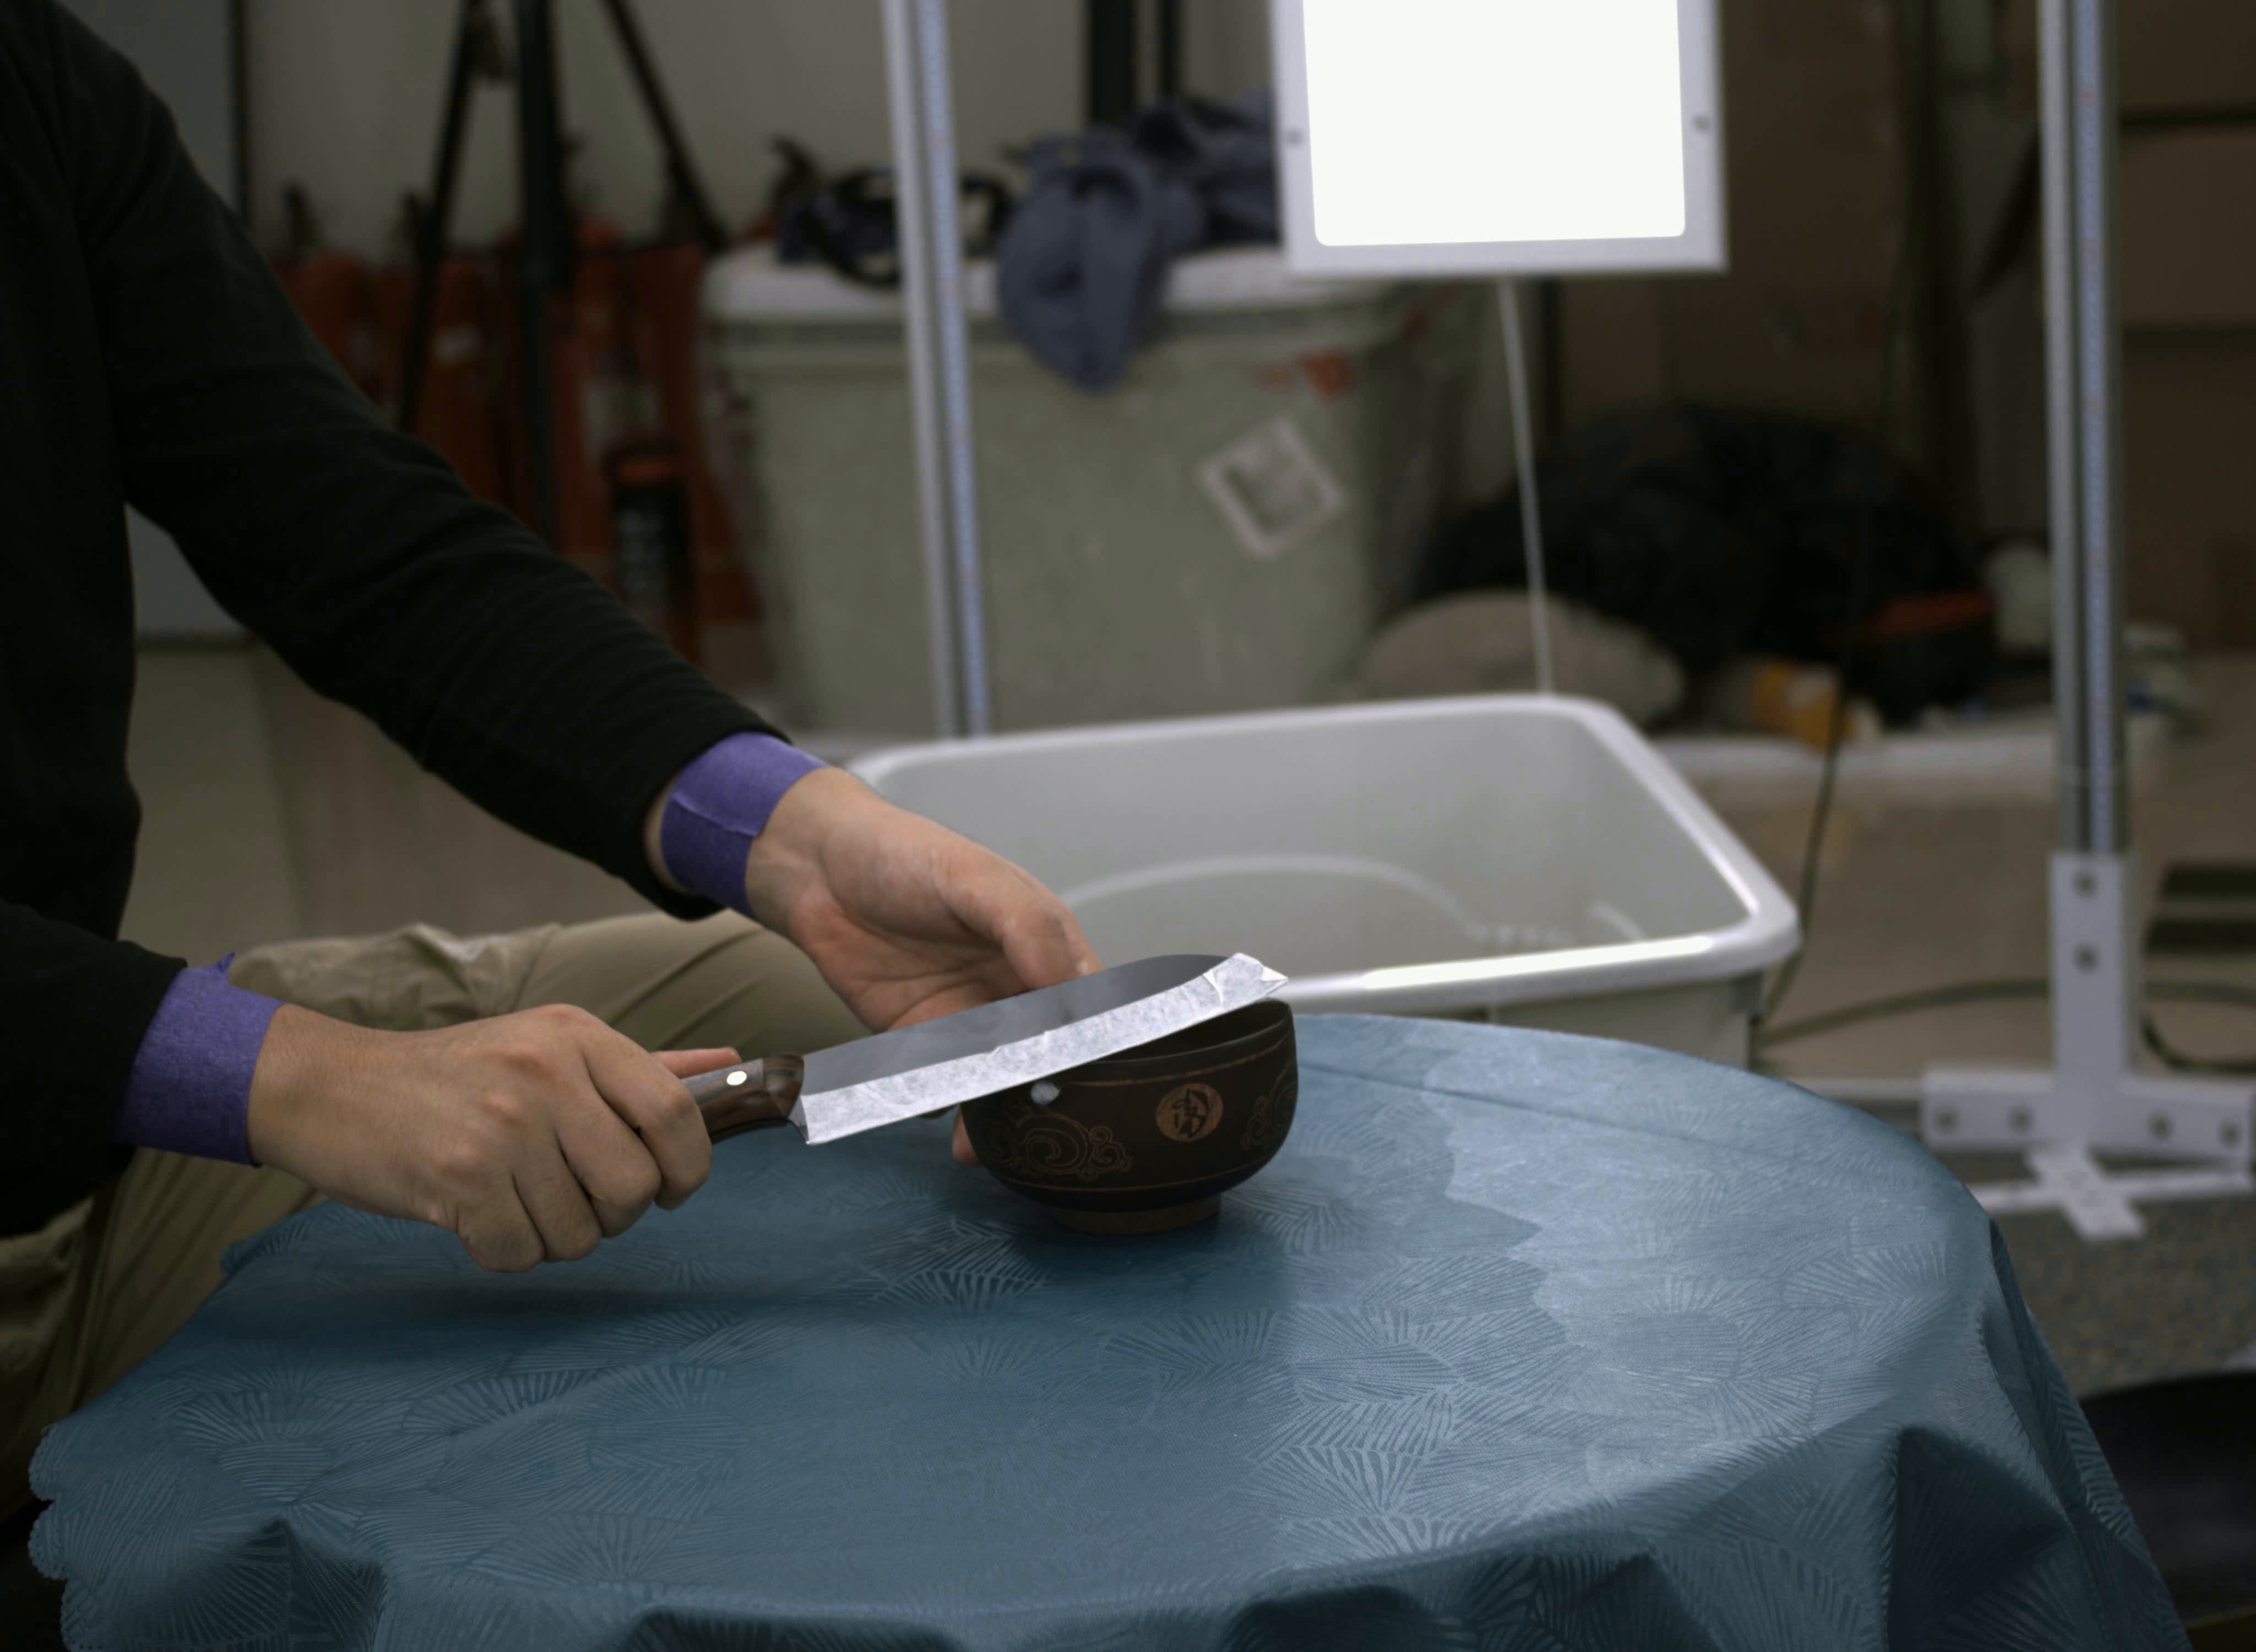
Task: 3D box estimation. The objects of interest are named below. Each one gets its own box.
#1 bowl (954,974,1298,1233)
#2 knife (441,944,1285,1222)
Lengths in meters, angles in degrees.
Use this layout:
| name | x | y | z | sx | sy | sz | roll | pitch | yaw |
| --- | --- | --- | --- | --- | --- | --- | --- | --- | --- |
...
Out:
| name | x | y | z | sx | sy | sz | roll | pitch | yaw |
| --- | --- | --- | --- | --- | --- | --- | --- | --- | --- |
| bowl | 0.001 | 0.097 | 1.869 | 0.118 | 0.070 | 0.118 | -6 | 12 | 0 |
| knife | -0.087 | 0.084 | 1.824 | 0.289 | 0.020 | 0.050 | -15 | 41 | 4 |
